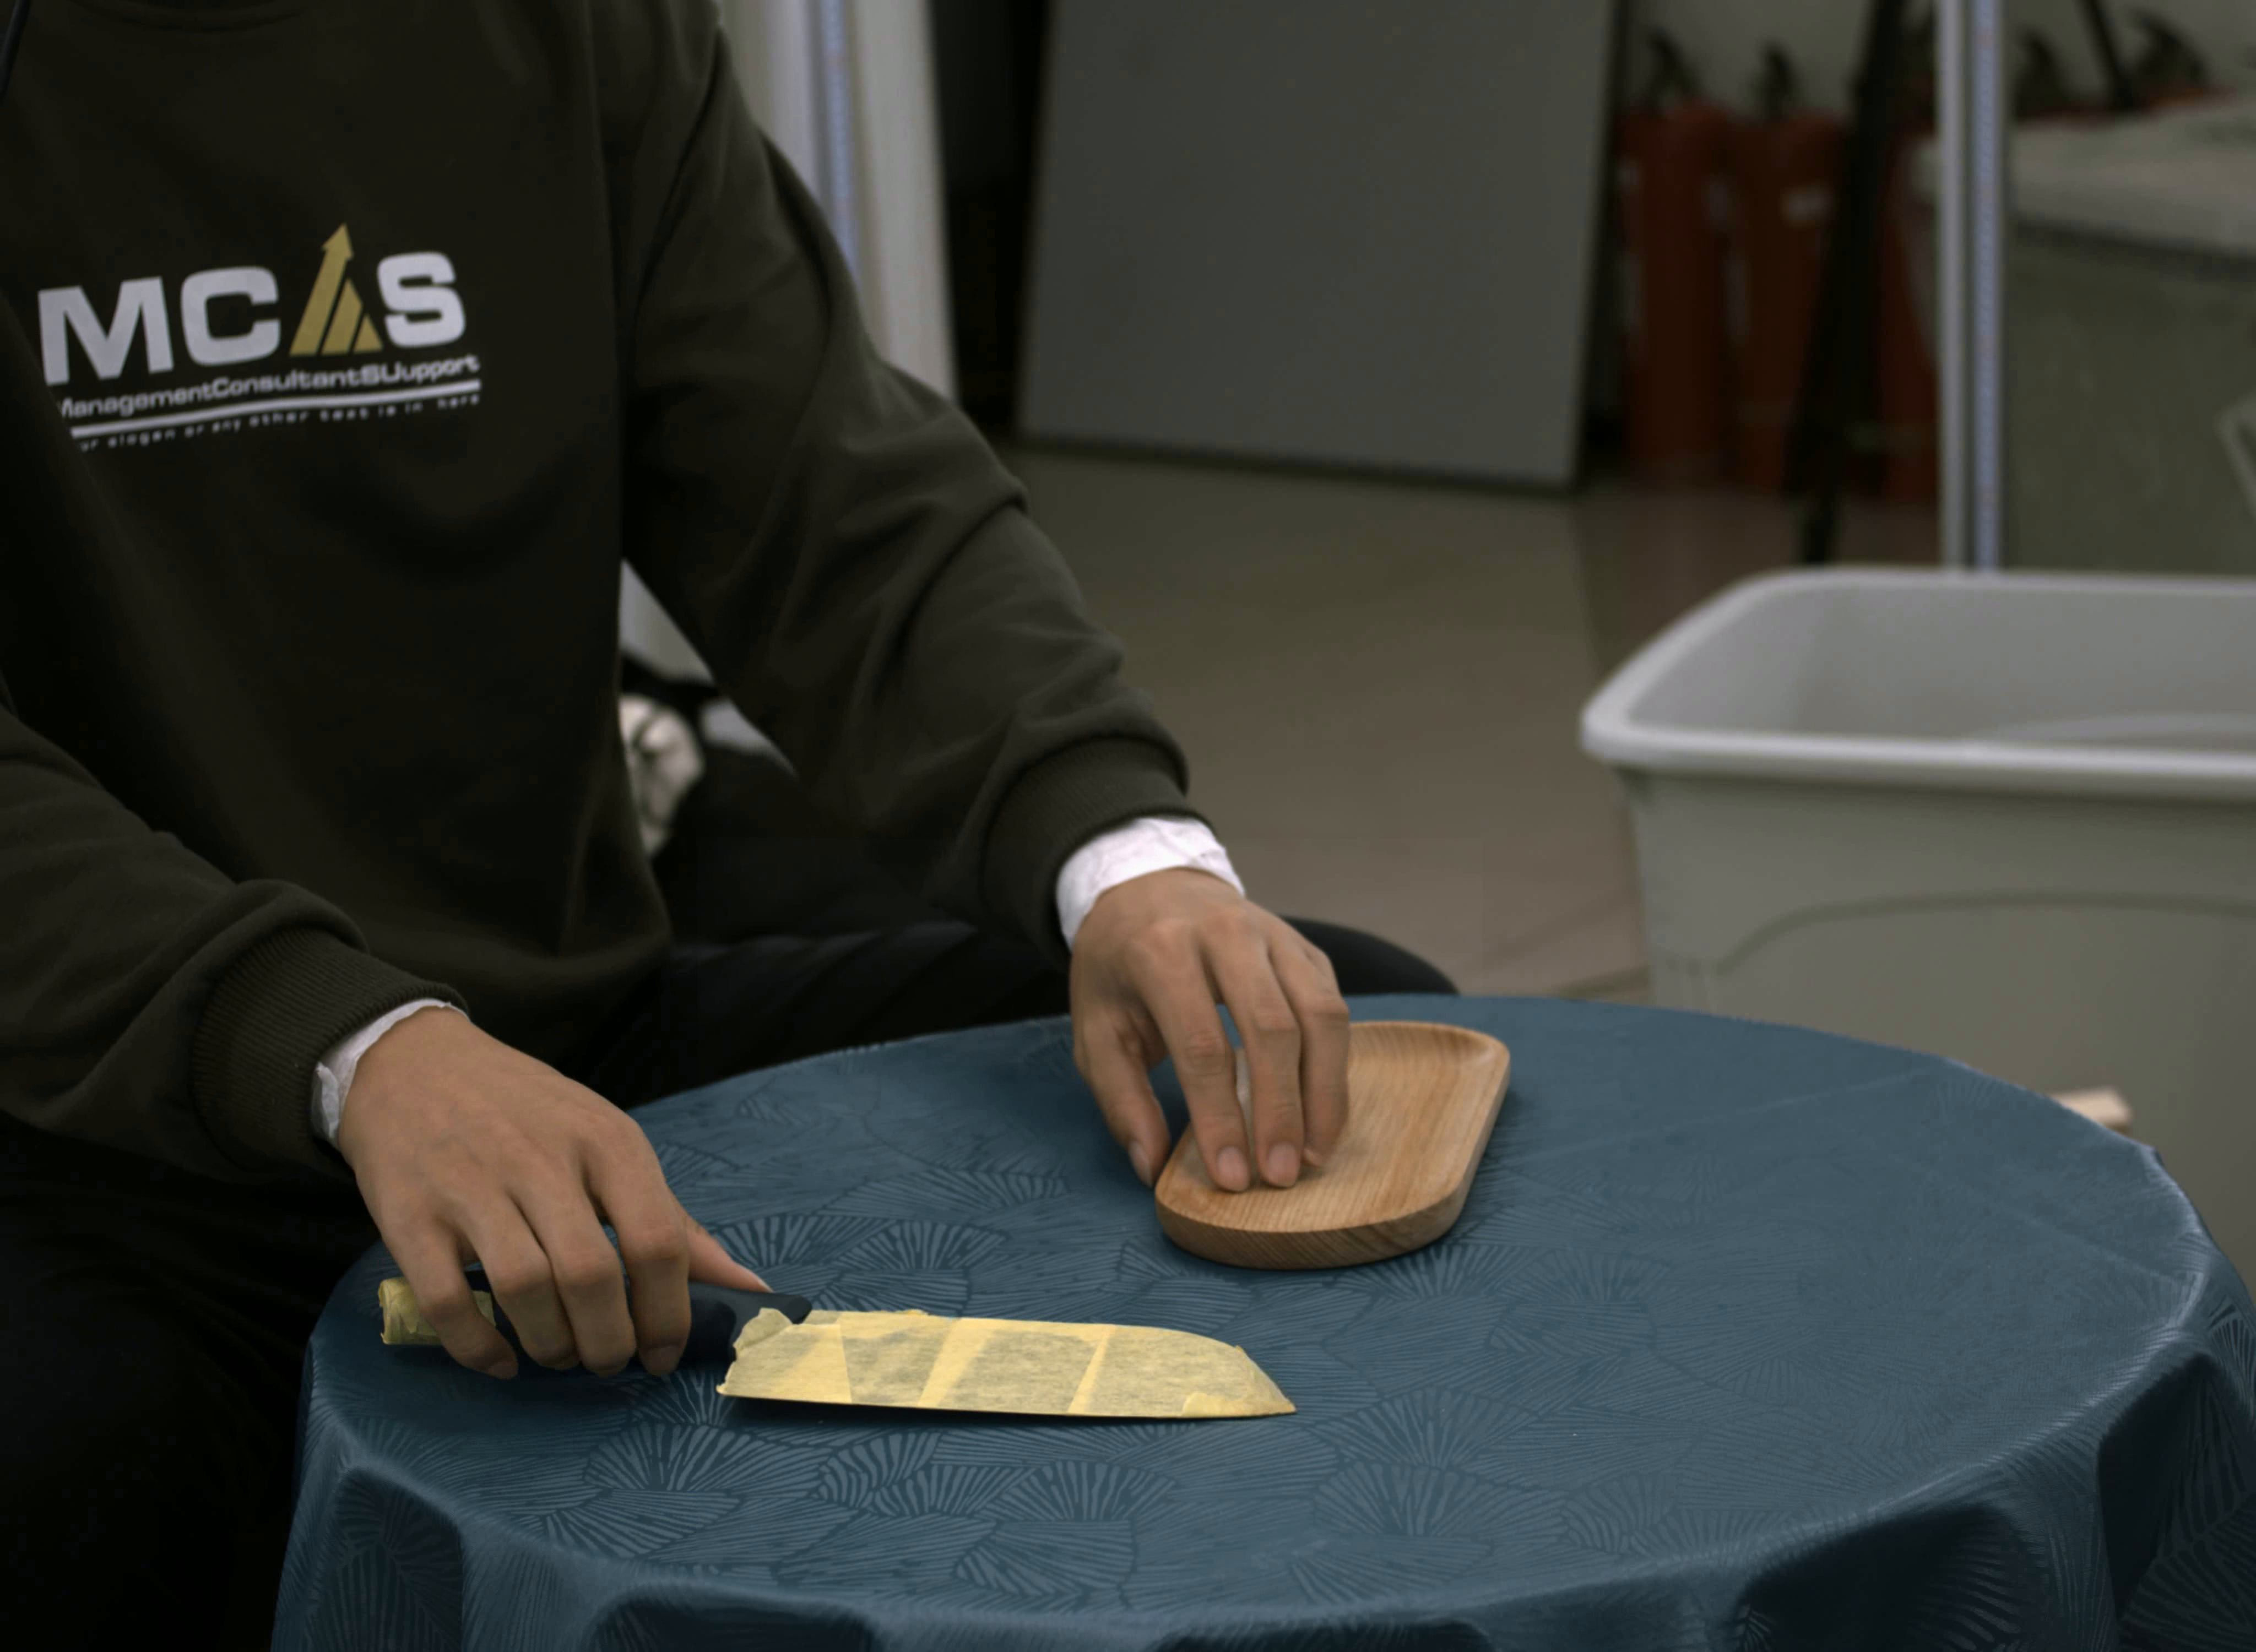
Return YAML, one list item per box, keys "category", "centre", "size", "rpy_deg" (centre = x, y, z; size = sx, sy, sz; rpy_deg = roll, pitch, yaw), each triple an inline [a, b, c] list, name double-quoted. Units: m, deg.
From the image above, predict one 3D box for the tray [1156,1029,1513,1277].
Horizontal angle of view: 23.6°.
- category: "tray"
  centre: [0.071, 0.106, 1.783]
  size: [0.101, 0.020, 0.230]
  rpy_deg: [-3, 15, 12]

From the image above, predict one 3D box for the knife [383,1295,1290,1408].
- category: "knife"
  centre: [-0.090, 0.160, 1.610]
  size: [0.288, 0.027, 0.080]
  rpy_deg: [0, 12, 14]
